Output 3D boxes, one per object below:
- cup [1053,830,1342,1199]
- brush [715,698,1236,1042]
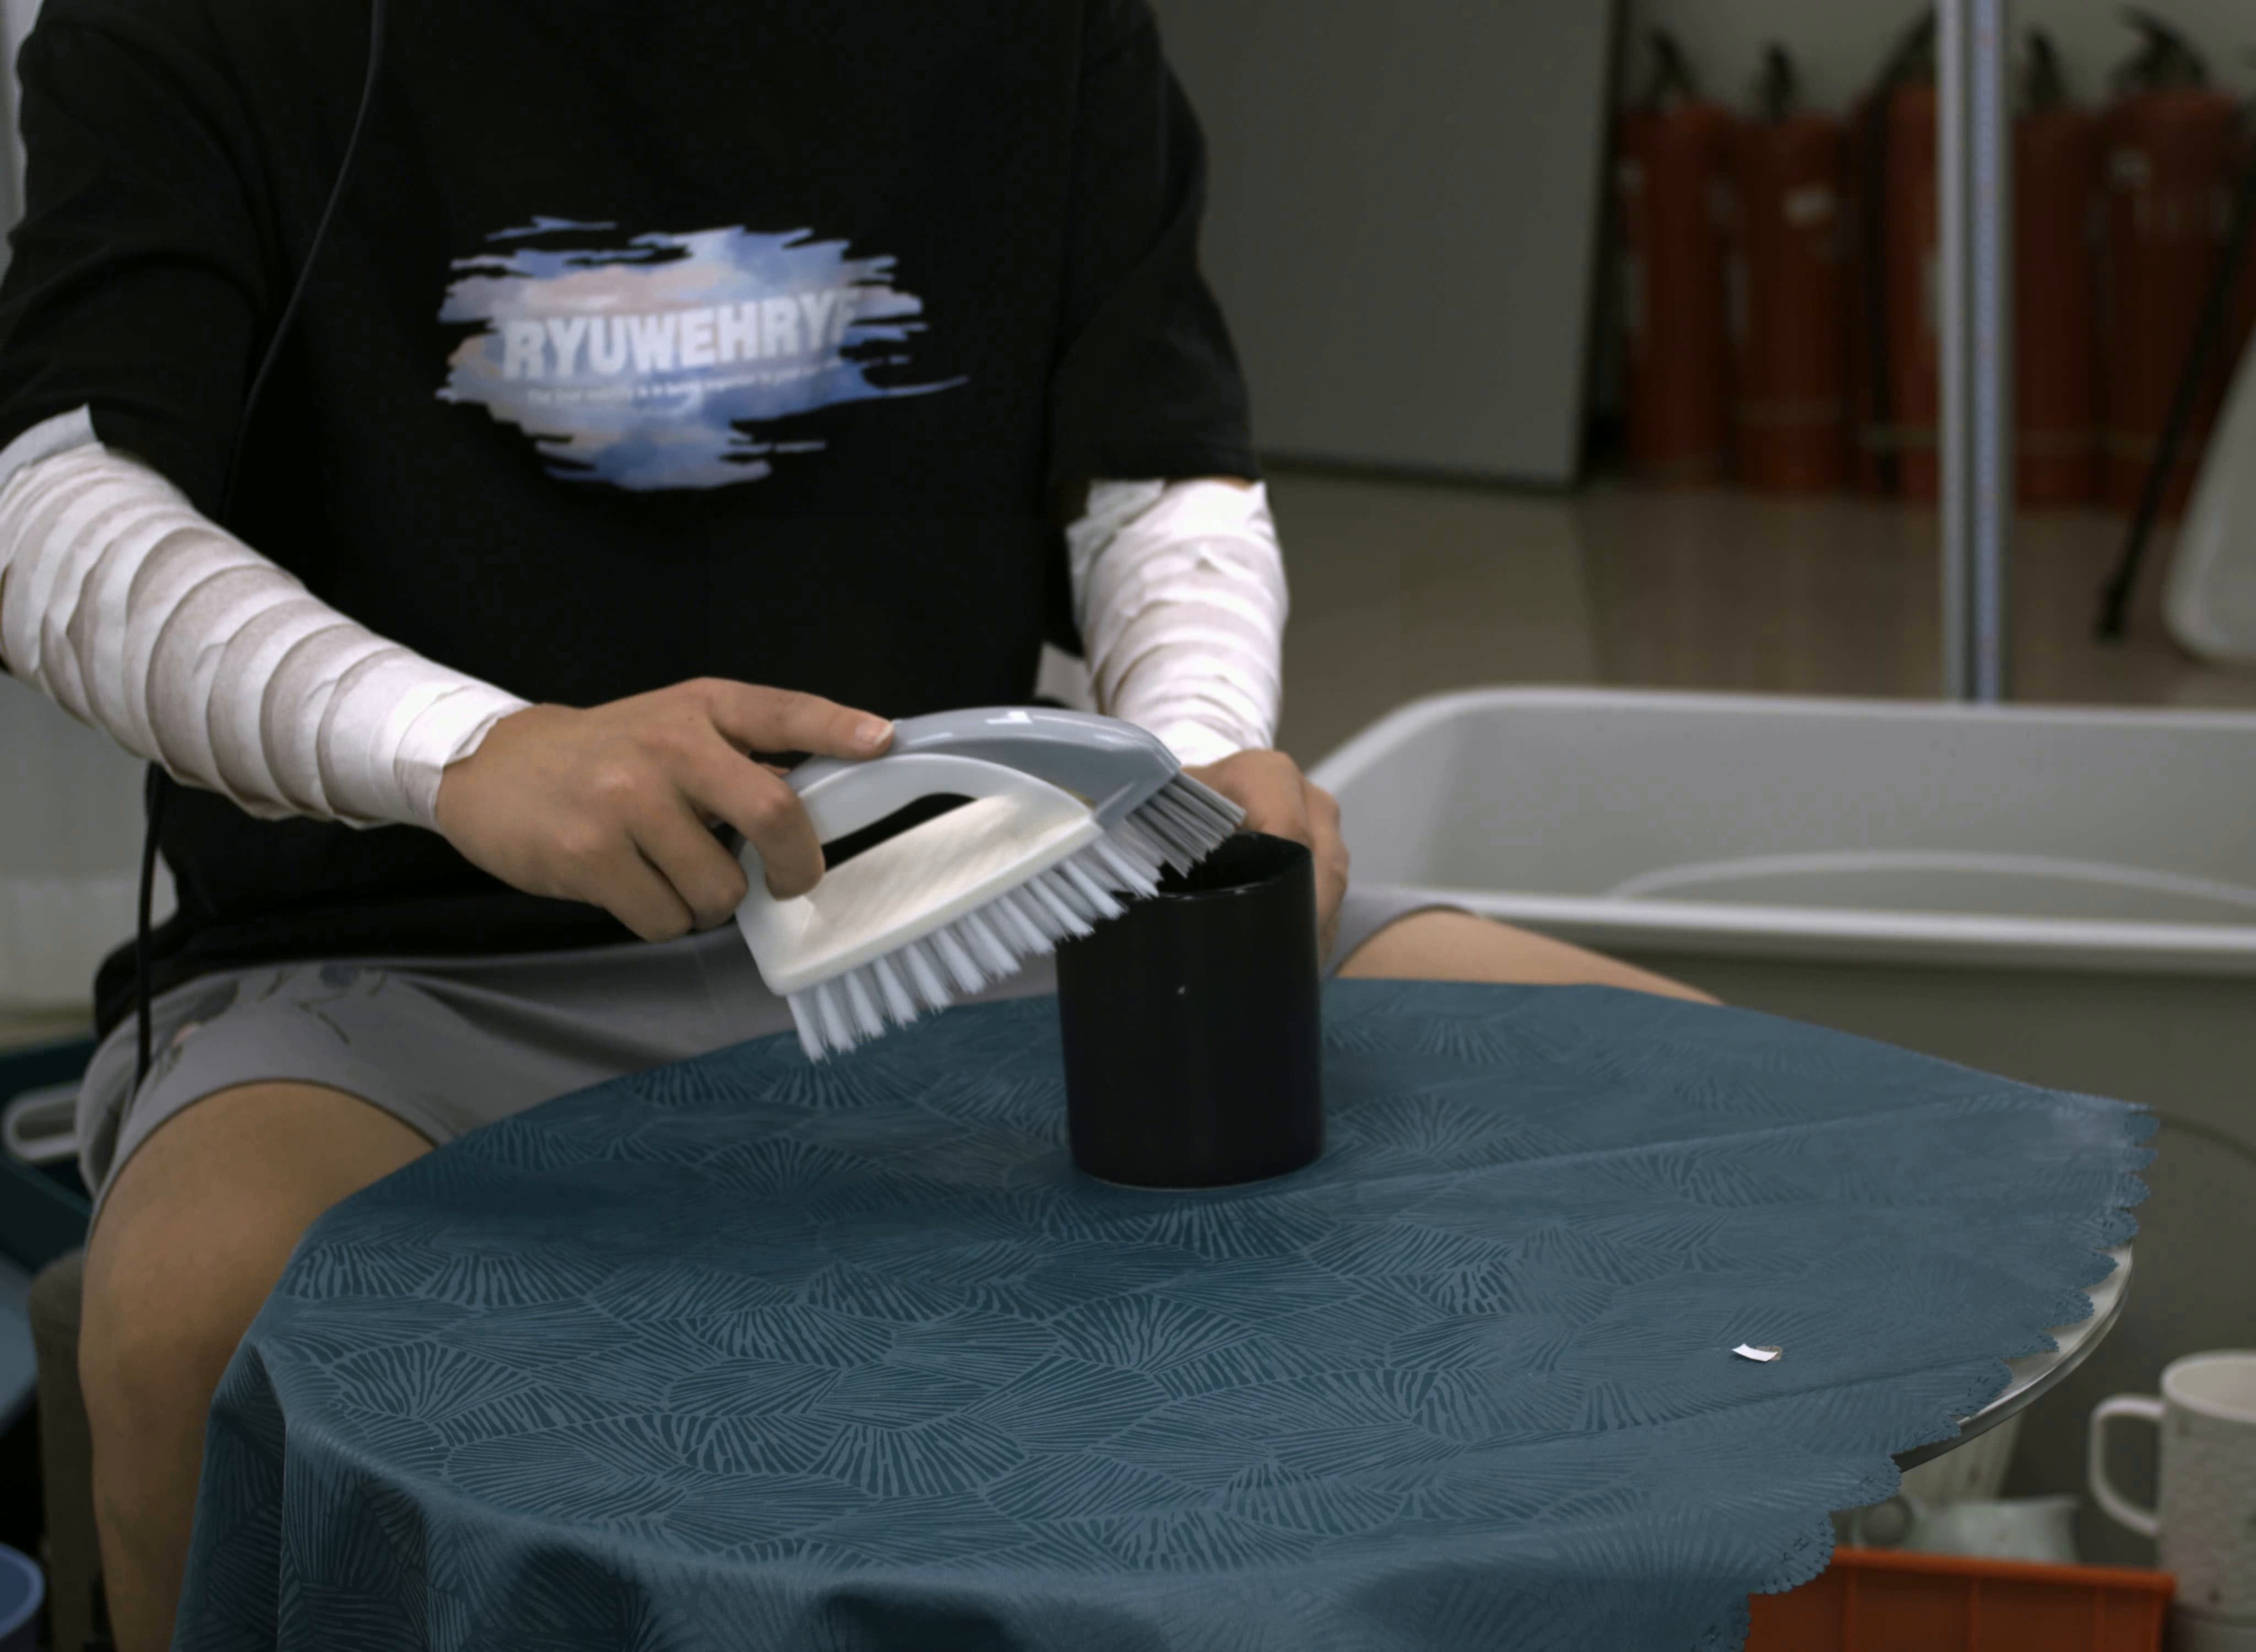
[{"bbox_3d":[0.027,0.058,1.812,0.088,0.106,0.123,-5,11,15],"label":"cup"},{"bbox_3d":[-0.058,-0.002,1.767,0.176,0.093,0.061,-23,30,27],"label":"brush"}]
